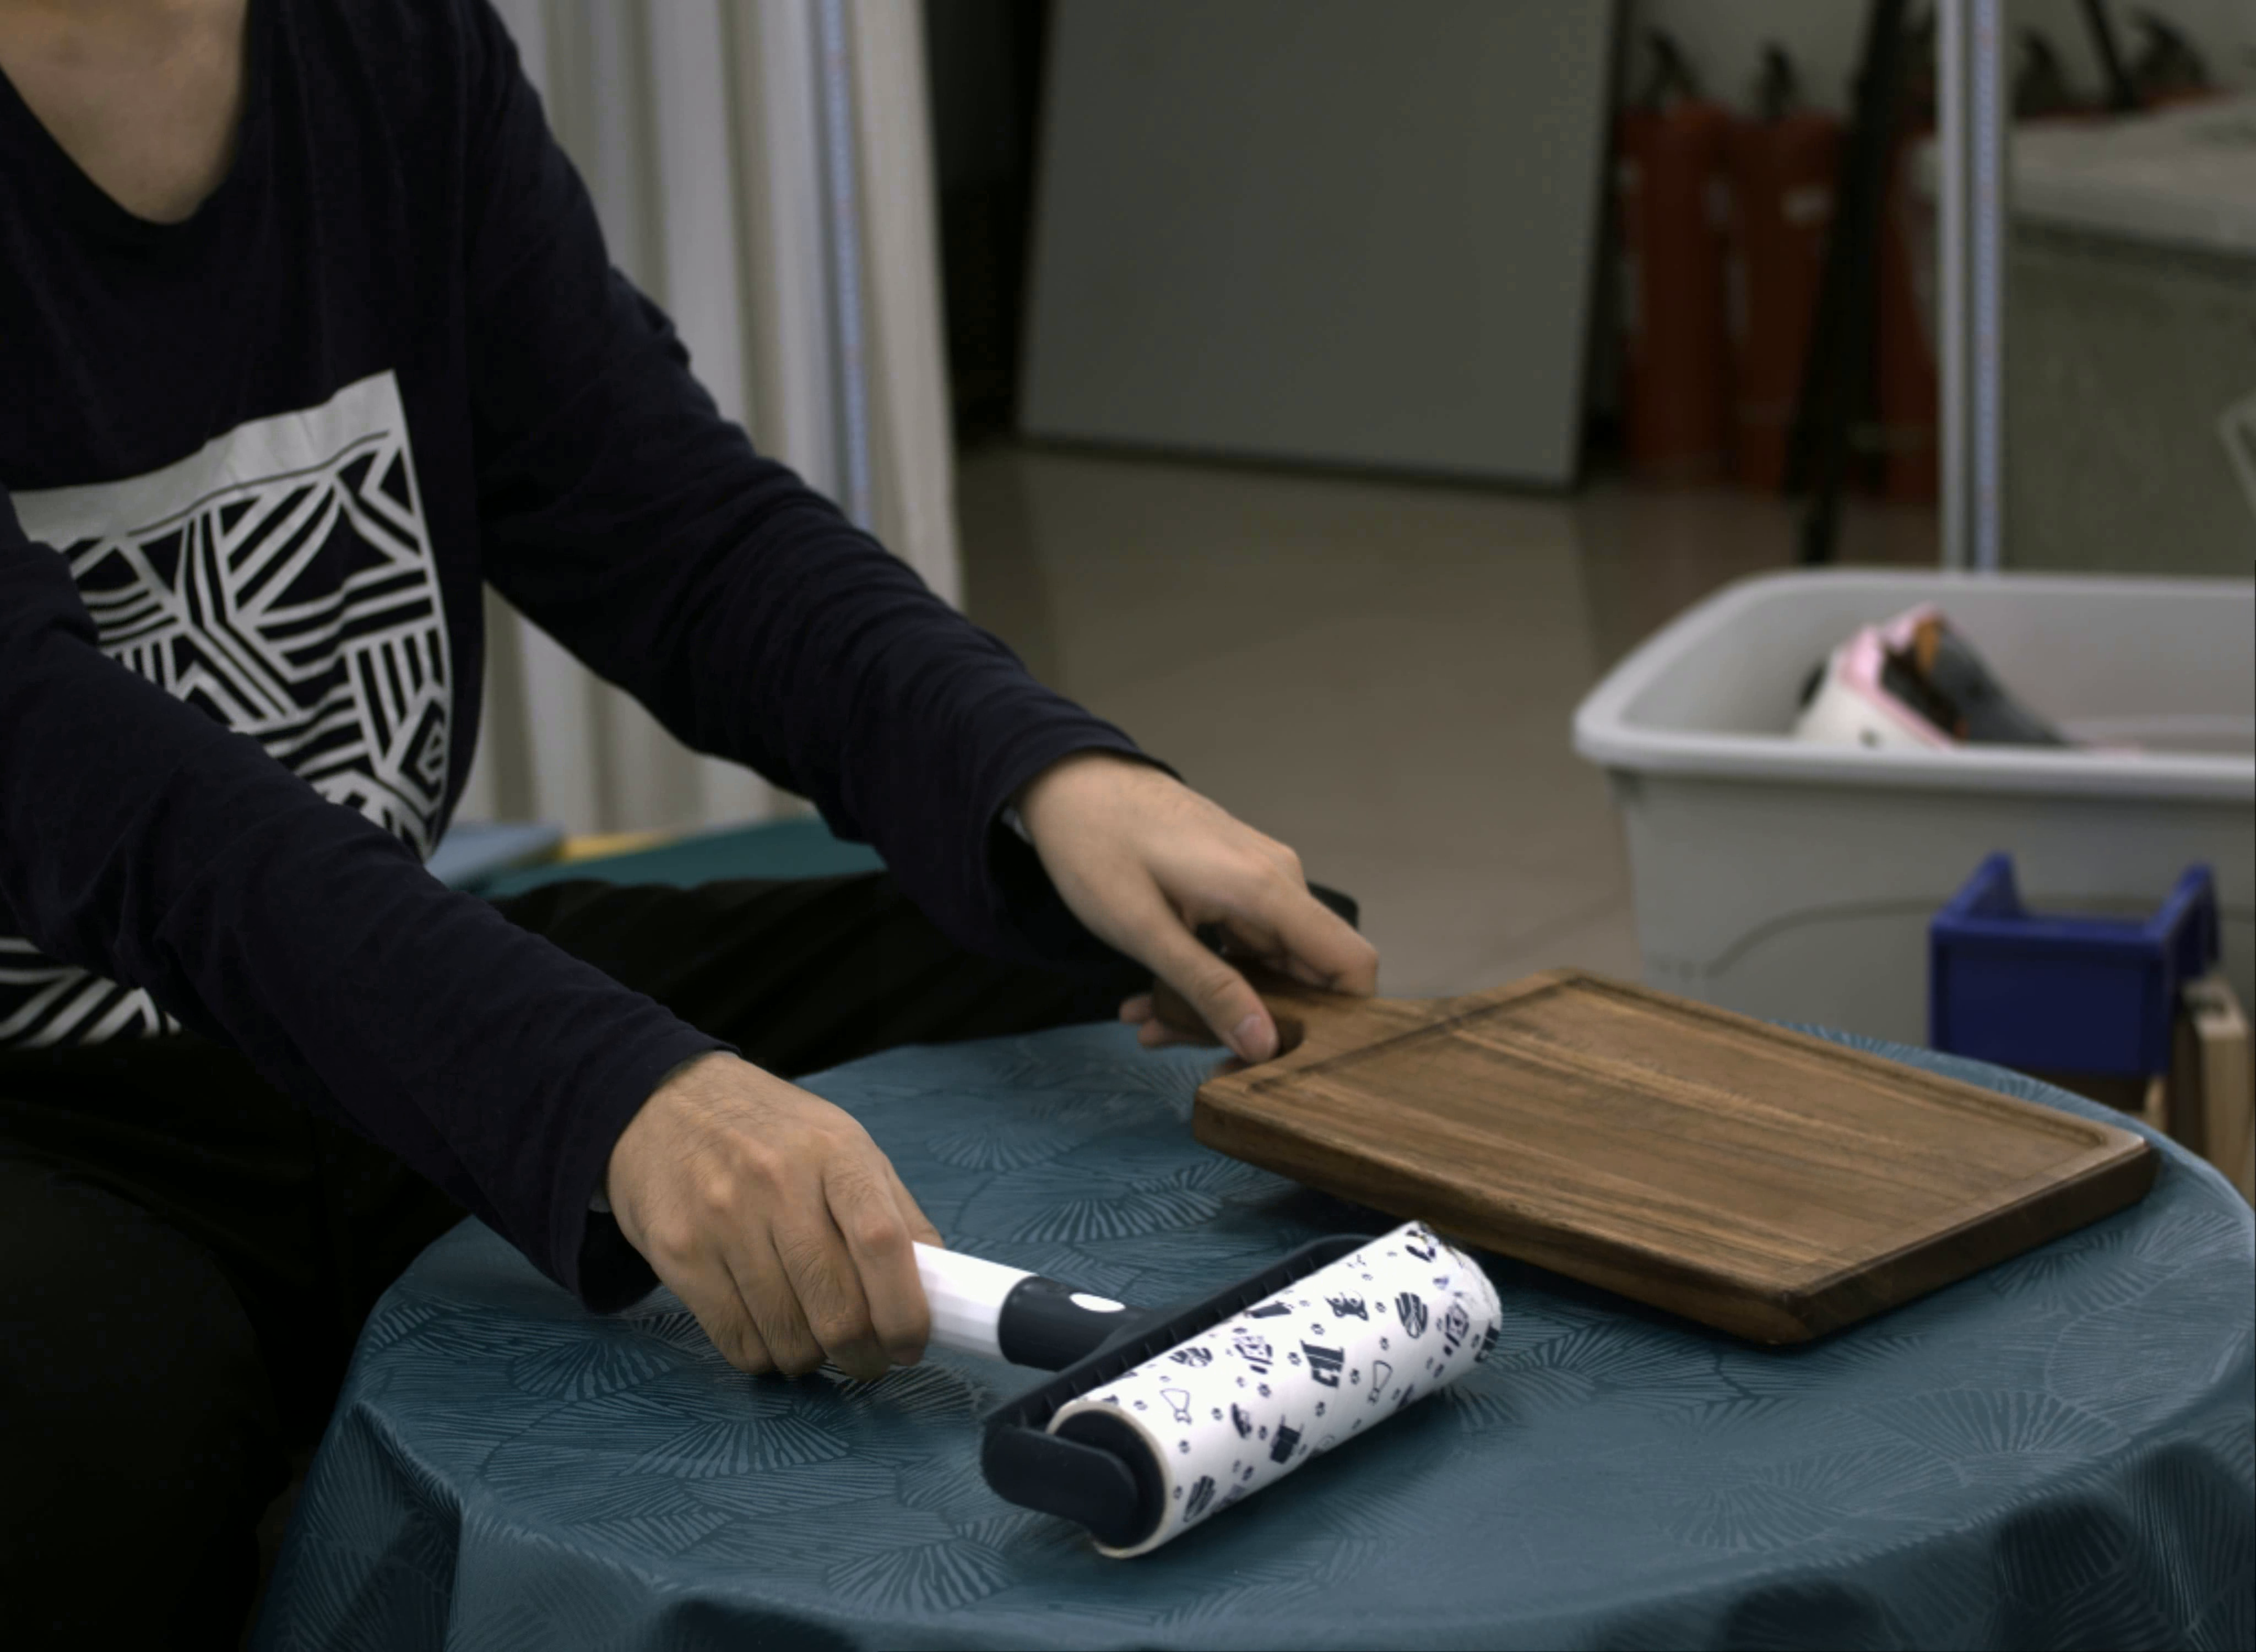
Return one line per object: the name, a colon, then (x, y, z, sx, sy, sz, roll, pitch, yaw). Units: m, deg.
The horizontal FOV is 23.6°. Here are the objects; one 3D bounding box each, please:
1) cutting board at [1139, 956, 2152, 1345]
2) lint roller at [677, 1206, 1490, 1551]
cutting board: (0.137, 0.091, 1.751, 0.355, 0.023, 0.197, 16, 22, 42)
lint roller: (-0.038, 0.142, 1.572, 0.249, 0.051, 0.173, 9, 20, 37)
